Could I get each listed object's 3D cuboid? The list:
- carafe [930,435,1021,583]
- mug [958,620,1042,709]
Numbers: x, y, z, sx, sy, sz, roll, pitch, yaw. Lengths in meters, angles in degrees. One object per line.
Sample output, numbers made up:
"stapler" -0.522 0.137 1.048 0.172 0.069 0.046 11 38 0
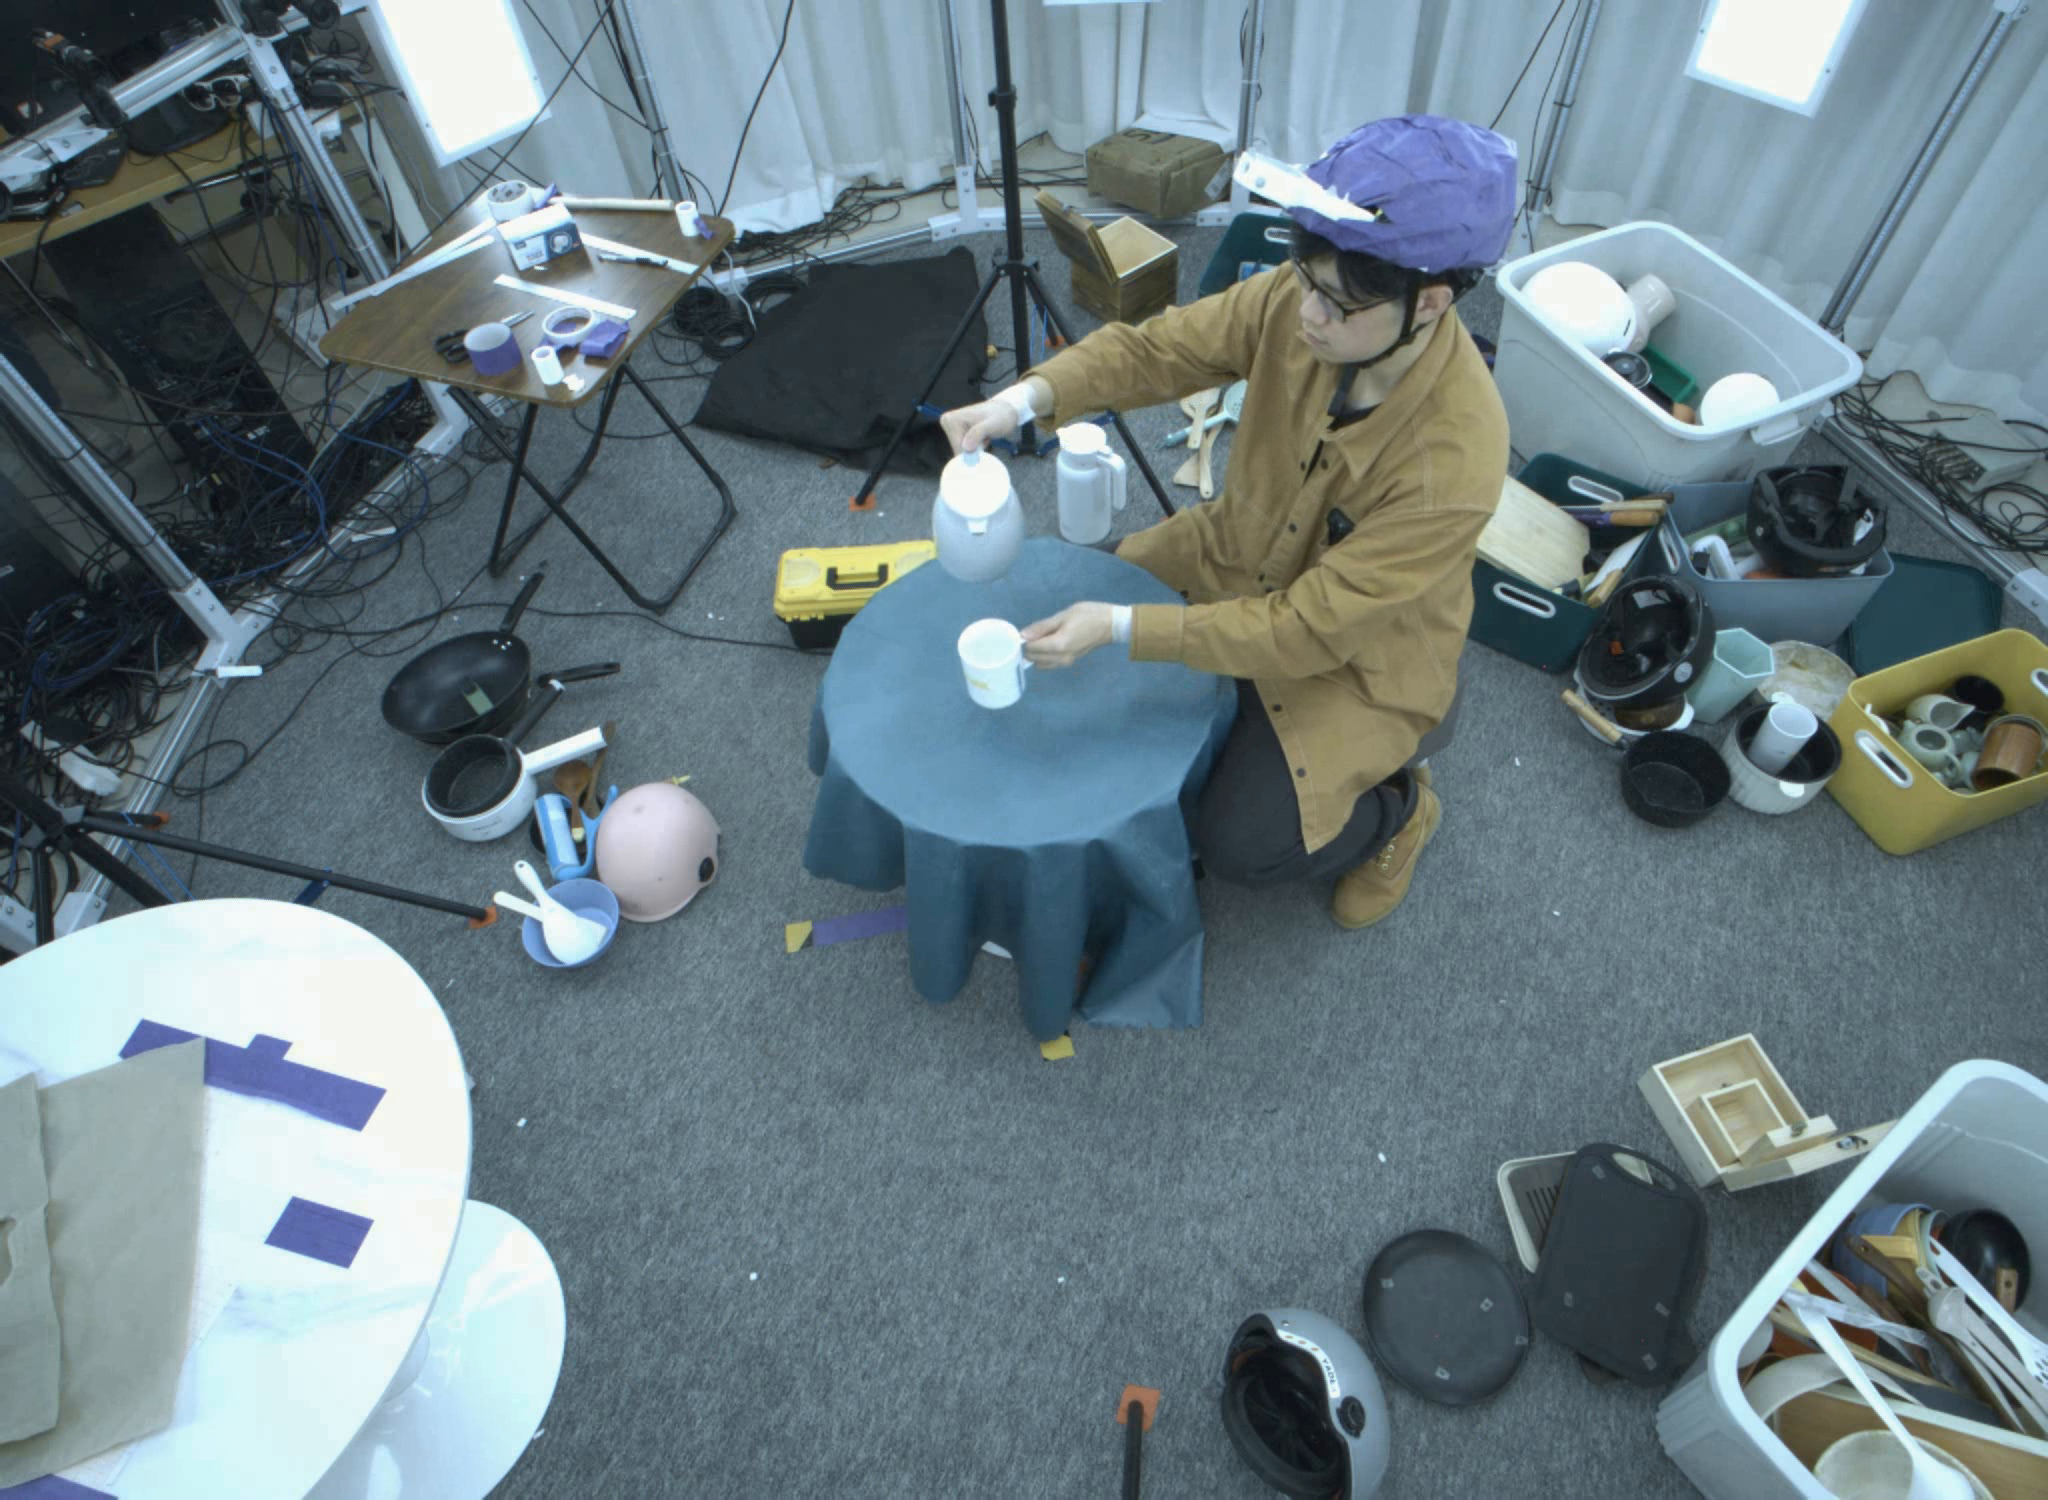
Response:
"carafe" -0.072 -0.348 1.707 0.133 0.249 0.167 -5 81 -2
"mug" -0.030 -0.124 1.721 0.119 0.103 0.083 -25 60 -12
